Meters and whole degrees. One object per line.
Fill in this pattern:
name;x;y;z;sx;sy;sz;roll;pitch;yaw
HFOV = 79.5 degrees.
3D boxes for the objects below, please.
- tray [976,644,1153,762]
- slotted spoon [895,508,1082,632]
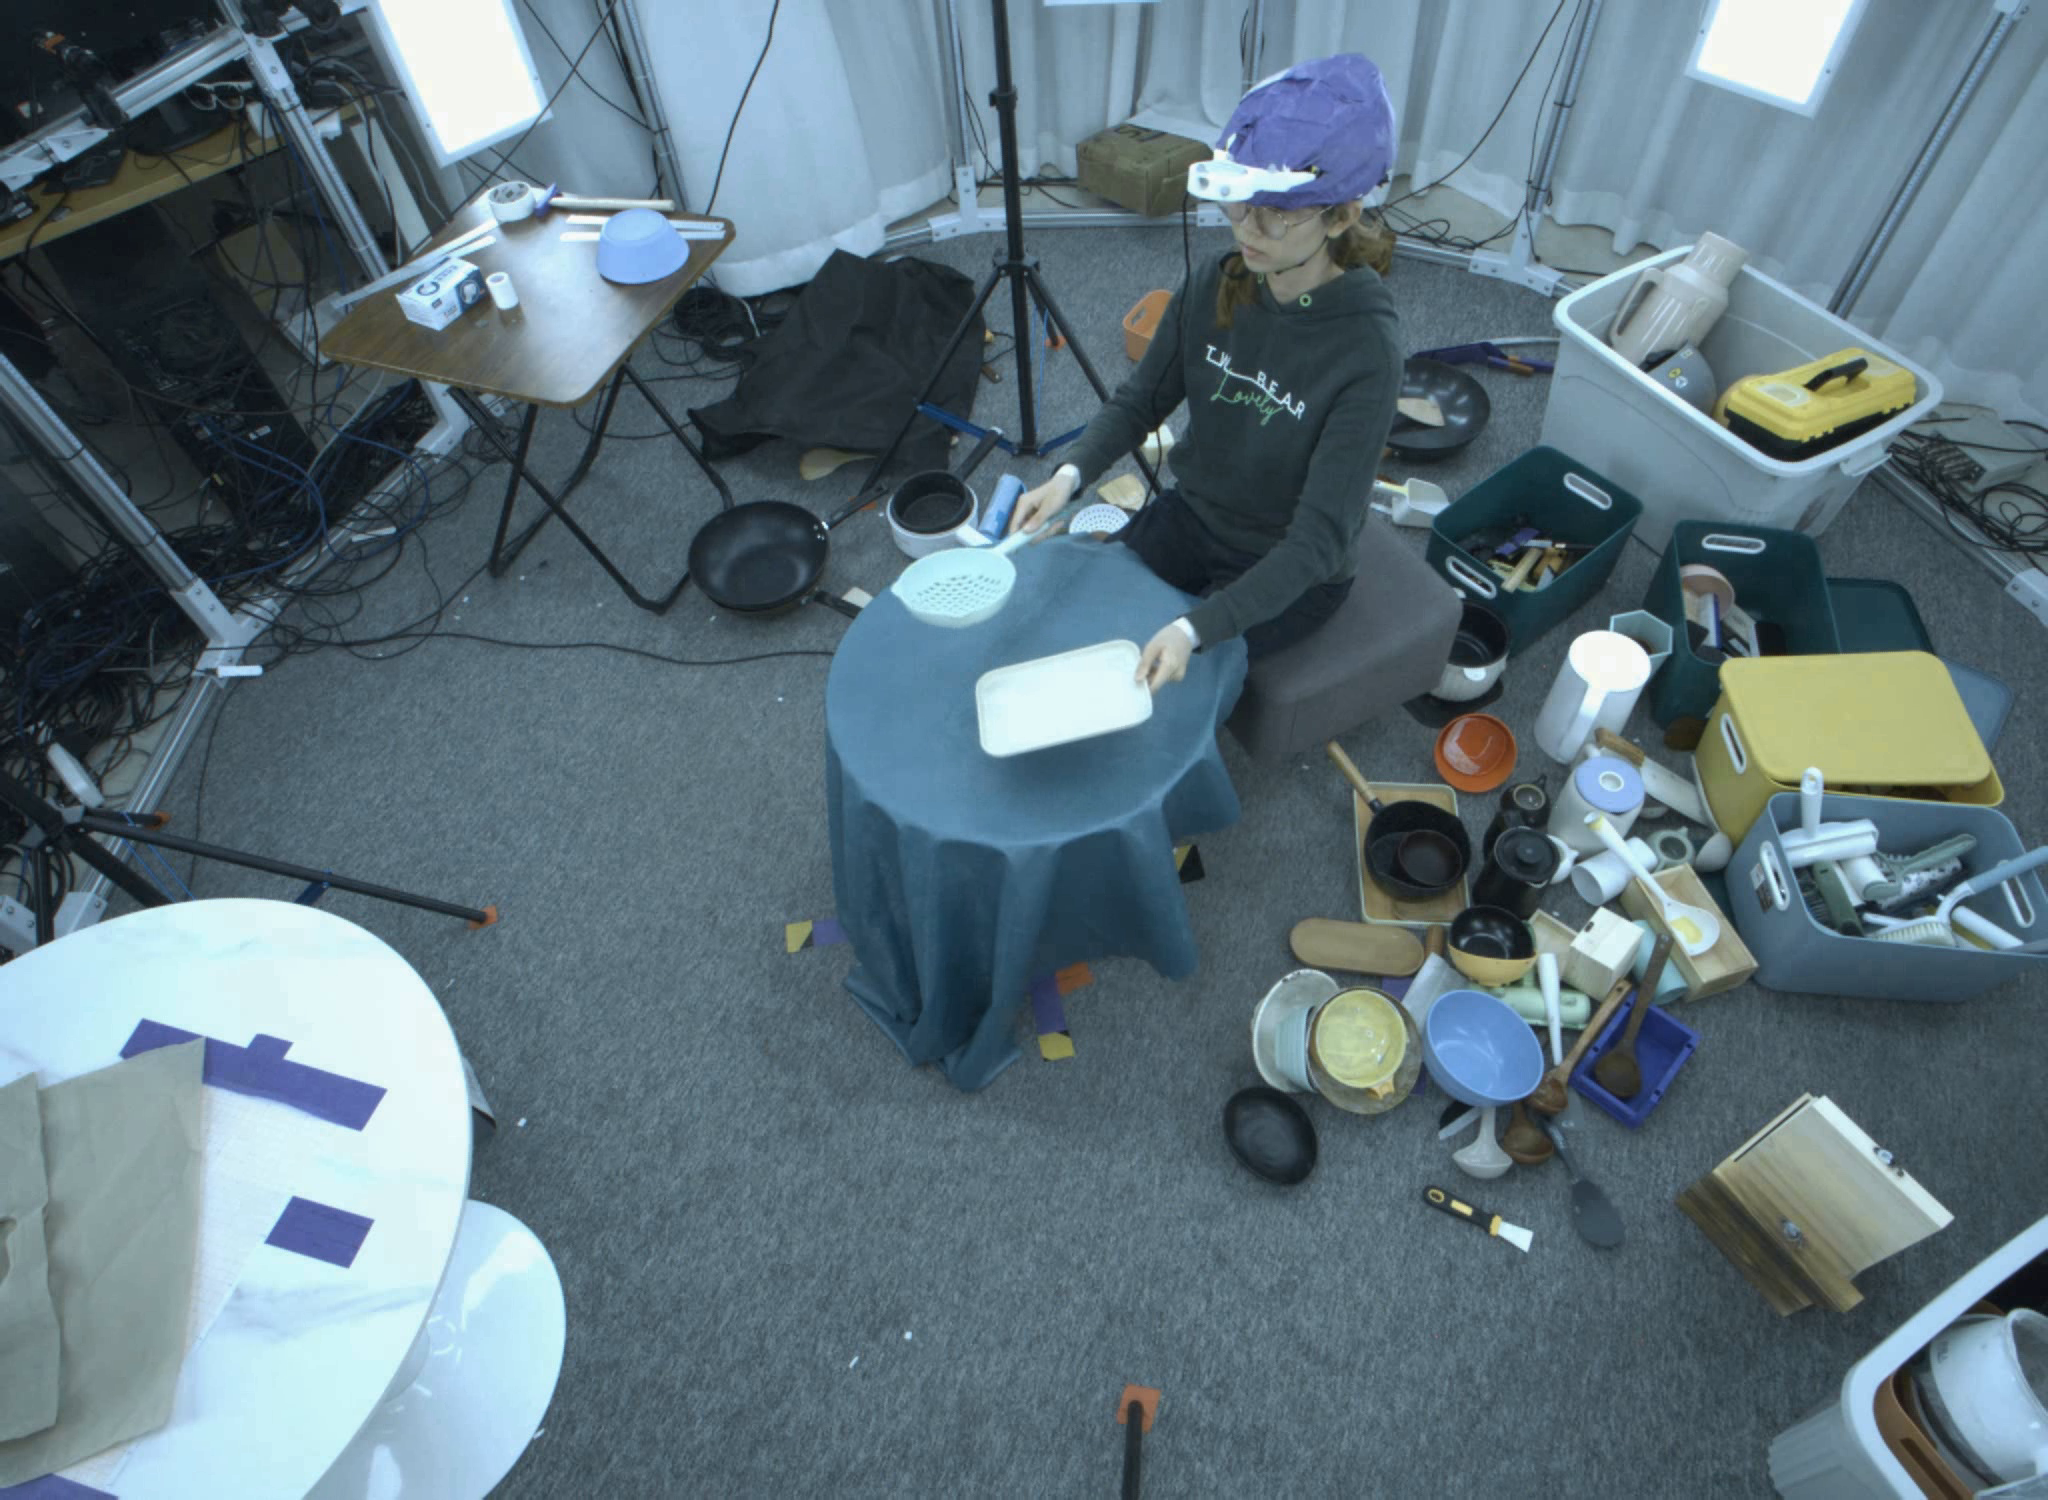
tray;0.054;-0.065;1.713;0.239;0.018;0.169;-13;47;4
slotted spoon;-0.029;-0.281;1.801;0.166;0.076;0.361;25;57;29
